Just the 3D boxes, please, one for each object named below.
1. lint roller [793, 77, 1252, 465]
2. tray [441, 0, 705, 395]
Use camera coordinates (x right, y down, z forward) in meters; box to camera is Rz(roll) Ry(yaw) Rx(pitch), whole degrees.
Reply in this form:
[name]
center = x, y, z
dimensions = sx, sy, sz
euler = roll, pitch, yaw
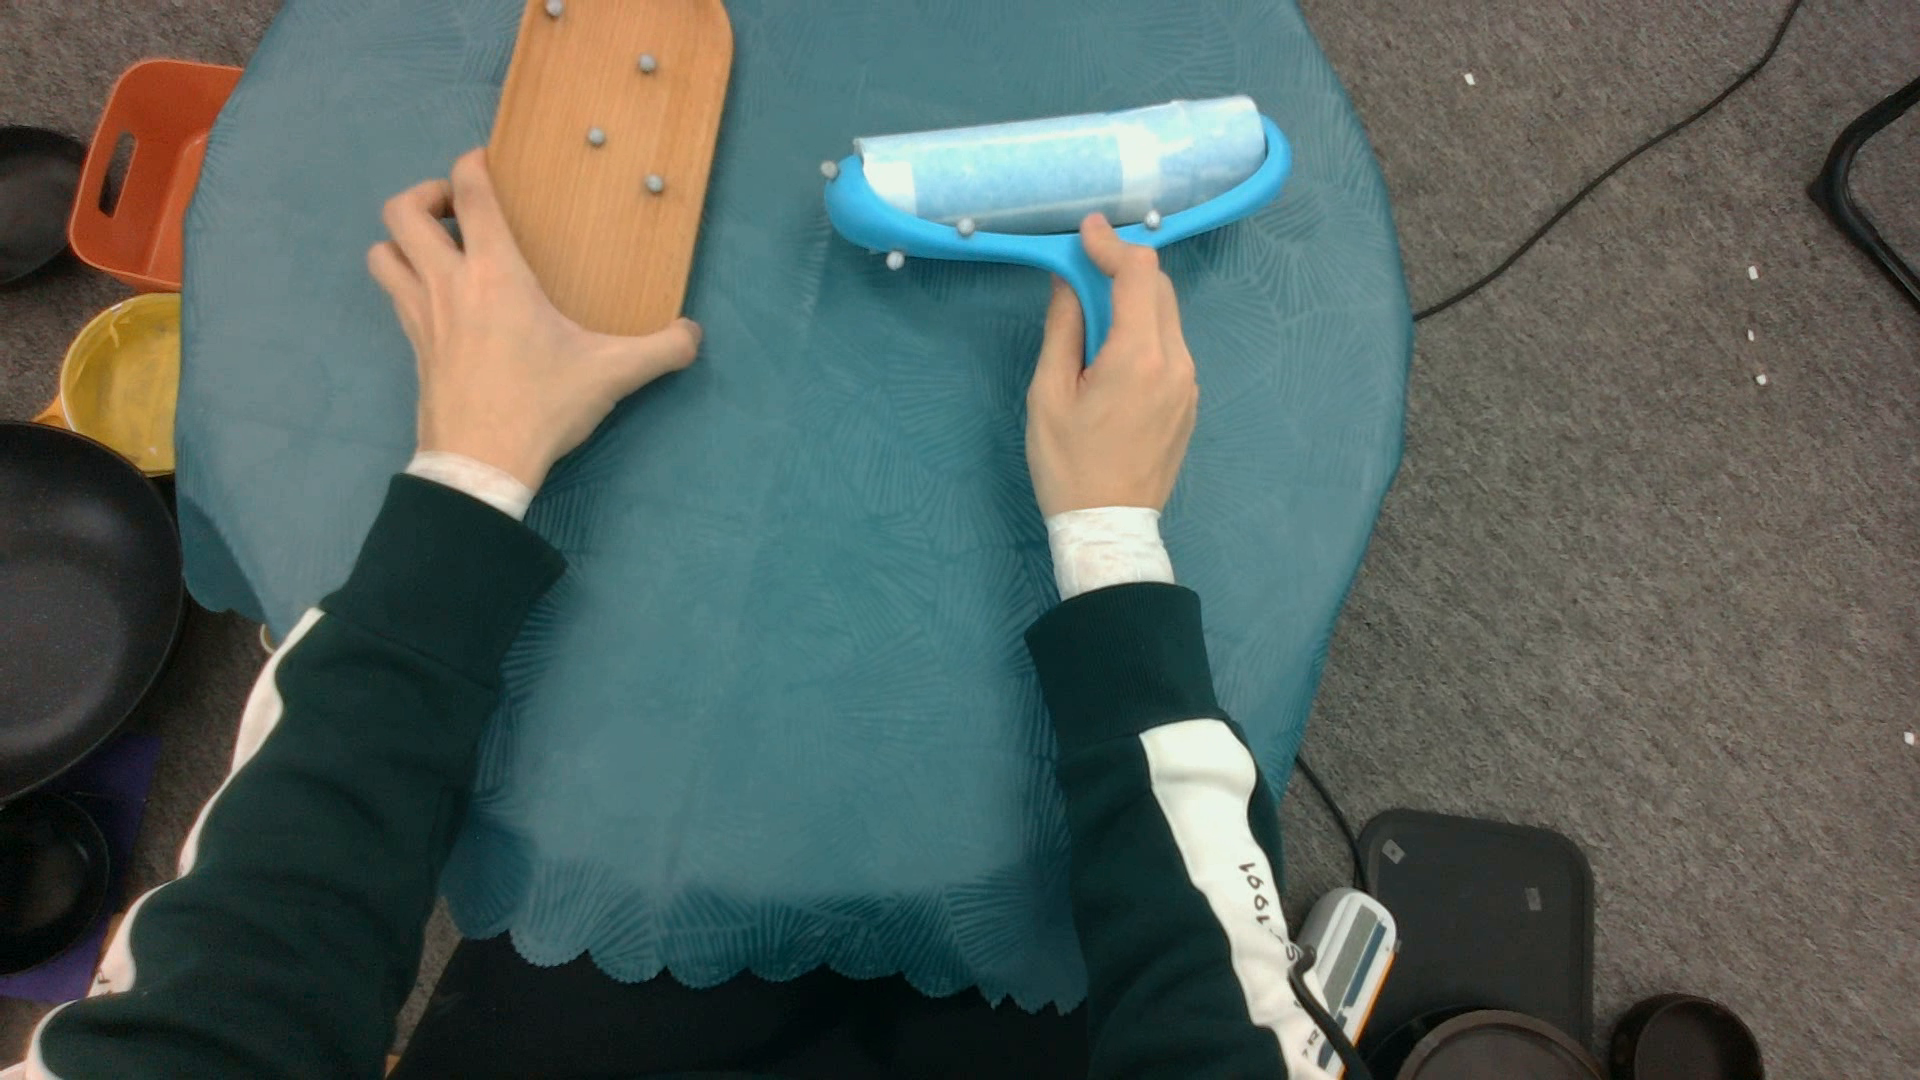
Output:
[lint roller]
center = 0.048, -0.130, 0.658
dimensions = 0.229, 0.067, 0.180
euler = -14, 77, -13
[tray]
center = -0.184, -0.178, 0.665
dimensions = 0.102, 0.020, 0.231
euler = 8, 75, -9
